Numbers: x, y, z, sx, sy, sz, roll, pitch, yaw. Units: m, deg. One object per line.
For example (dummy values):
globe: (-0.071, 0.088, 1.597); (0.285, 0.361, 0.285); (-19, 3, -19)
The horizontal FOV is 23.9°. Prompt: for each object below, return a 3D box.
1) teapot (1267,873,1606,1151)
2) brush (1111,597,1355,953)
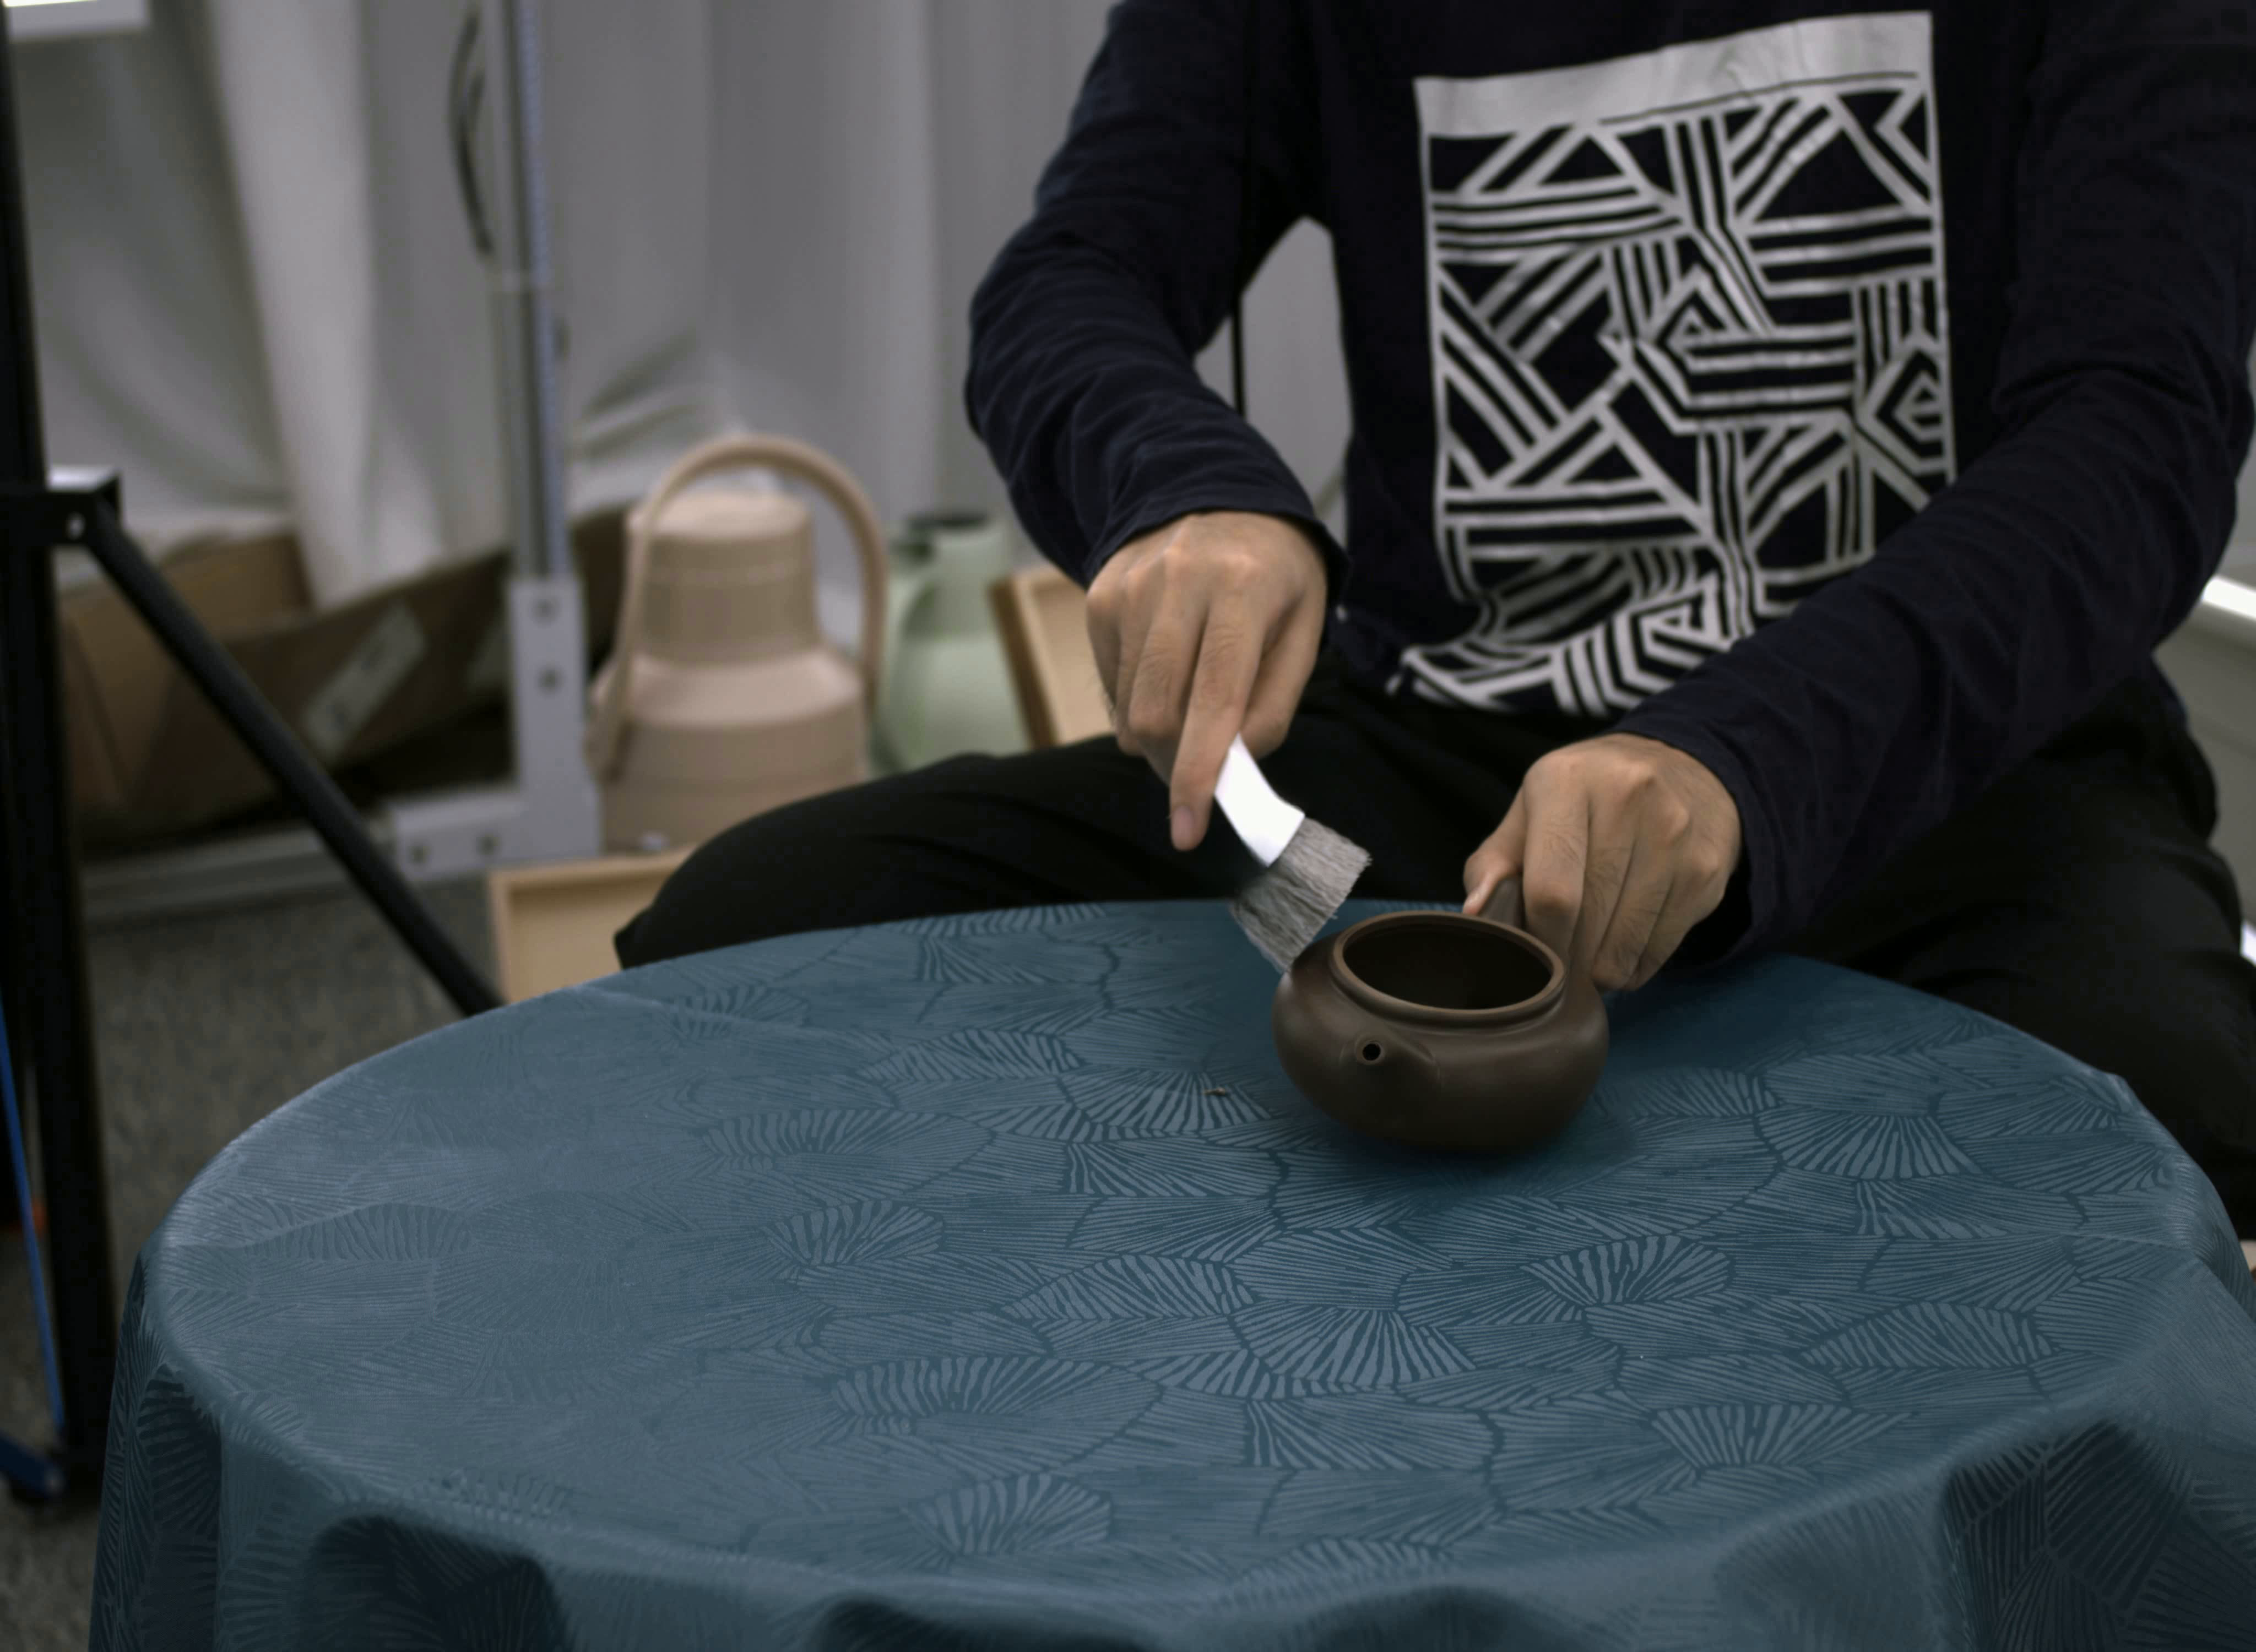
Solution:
teapot: (0.094, 0.058, 1.604); (0.103, 0.054, 0.152); (10, 26, 14)
brush: (0.034, -0.019, 1.709); (0.049, 0.034, 0.246); (30, 13, -17)
